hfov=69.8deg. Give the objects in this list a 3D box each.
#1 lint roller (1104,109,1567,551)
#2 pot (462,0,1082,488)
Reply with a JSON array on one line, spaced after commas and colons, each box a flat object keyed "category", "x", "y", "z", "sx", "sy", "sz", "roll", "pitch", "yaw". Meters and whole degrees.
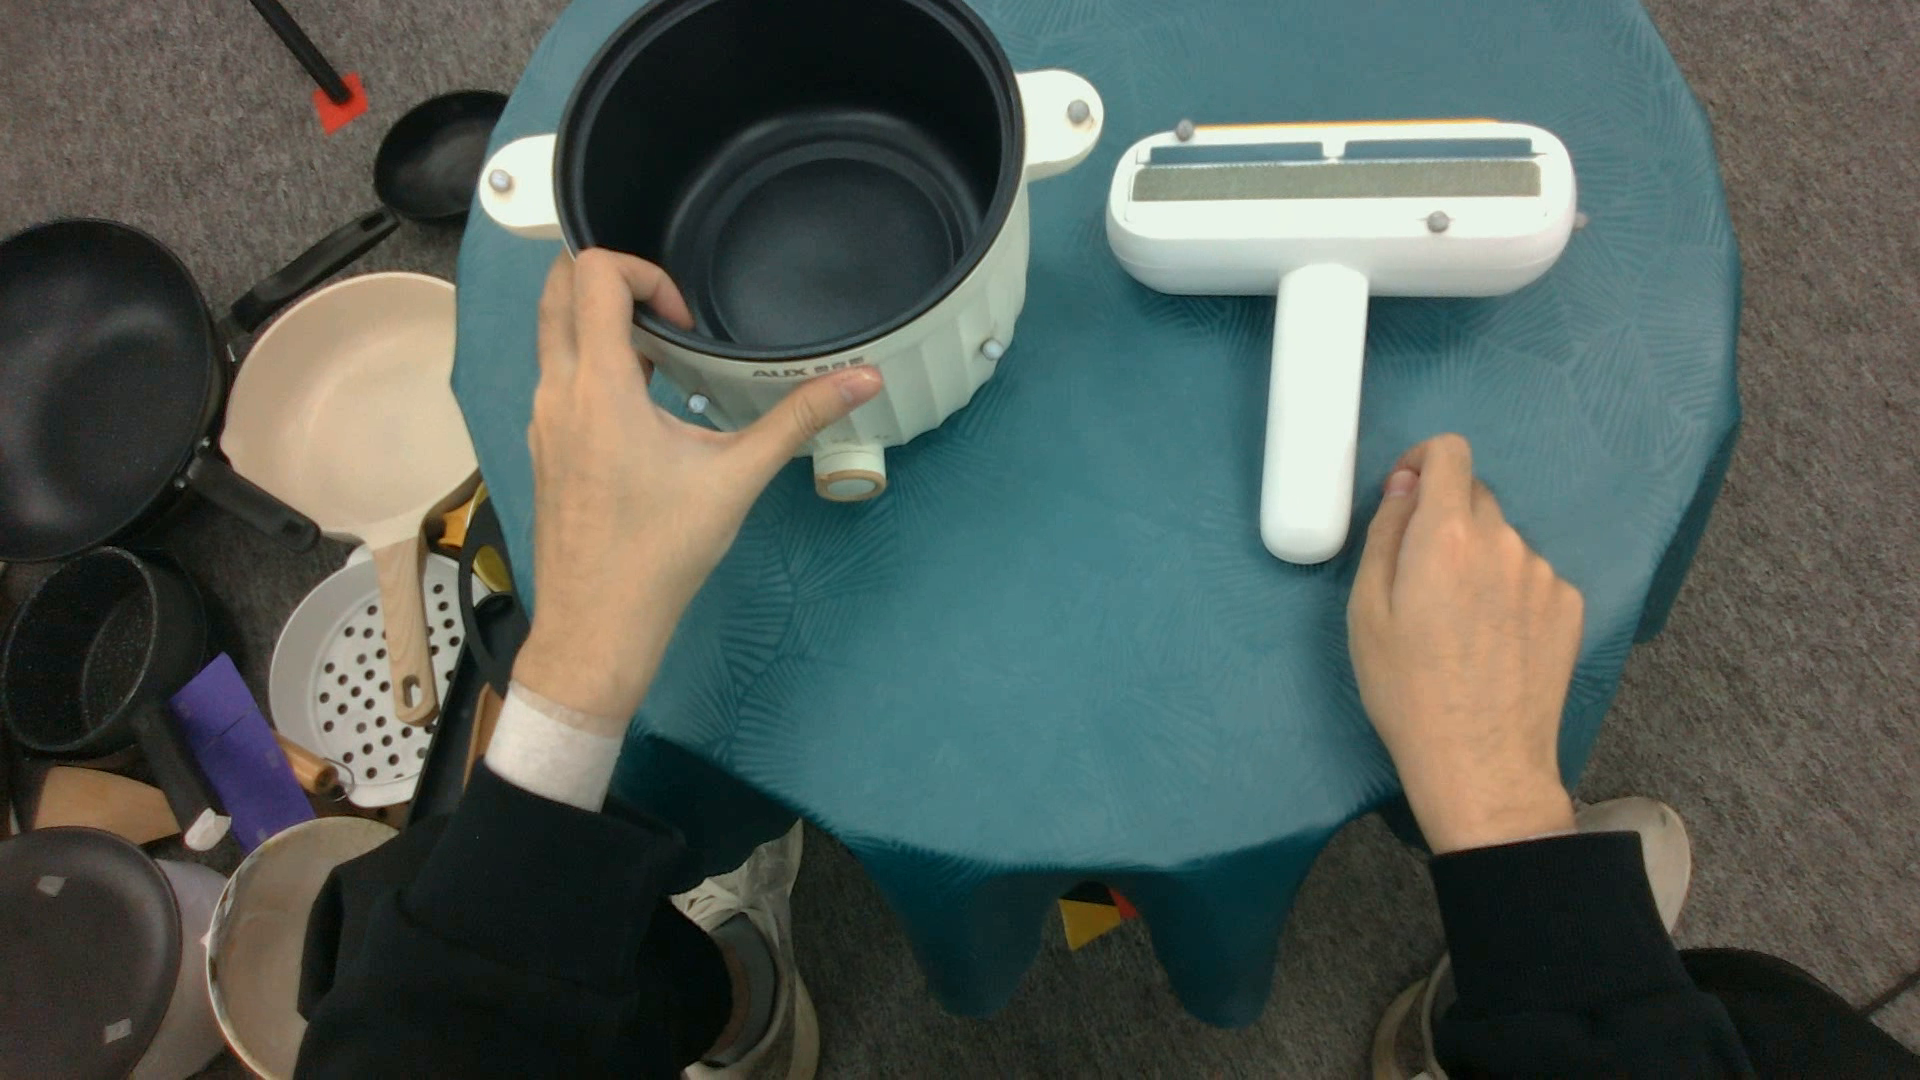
[{"category": "lint roller", "x": 0.148, "y": -0.092, "z": 0.590, "sx": 0.192, "sy": 0.074, "sz": 0.193, "roll": 9, "pitch": 74, "yaw": 13}, {"category": "pot", "x": -0.066, "y": -0.130, "z": 0.582, "sx": 0.240, "sy": 0.142, "sz": 0.191, "roll": -8, "pitch": 68, "yaw": 3}]
